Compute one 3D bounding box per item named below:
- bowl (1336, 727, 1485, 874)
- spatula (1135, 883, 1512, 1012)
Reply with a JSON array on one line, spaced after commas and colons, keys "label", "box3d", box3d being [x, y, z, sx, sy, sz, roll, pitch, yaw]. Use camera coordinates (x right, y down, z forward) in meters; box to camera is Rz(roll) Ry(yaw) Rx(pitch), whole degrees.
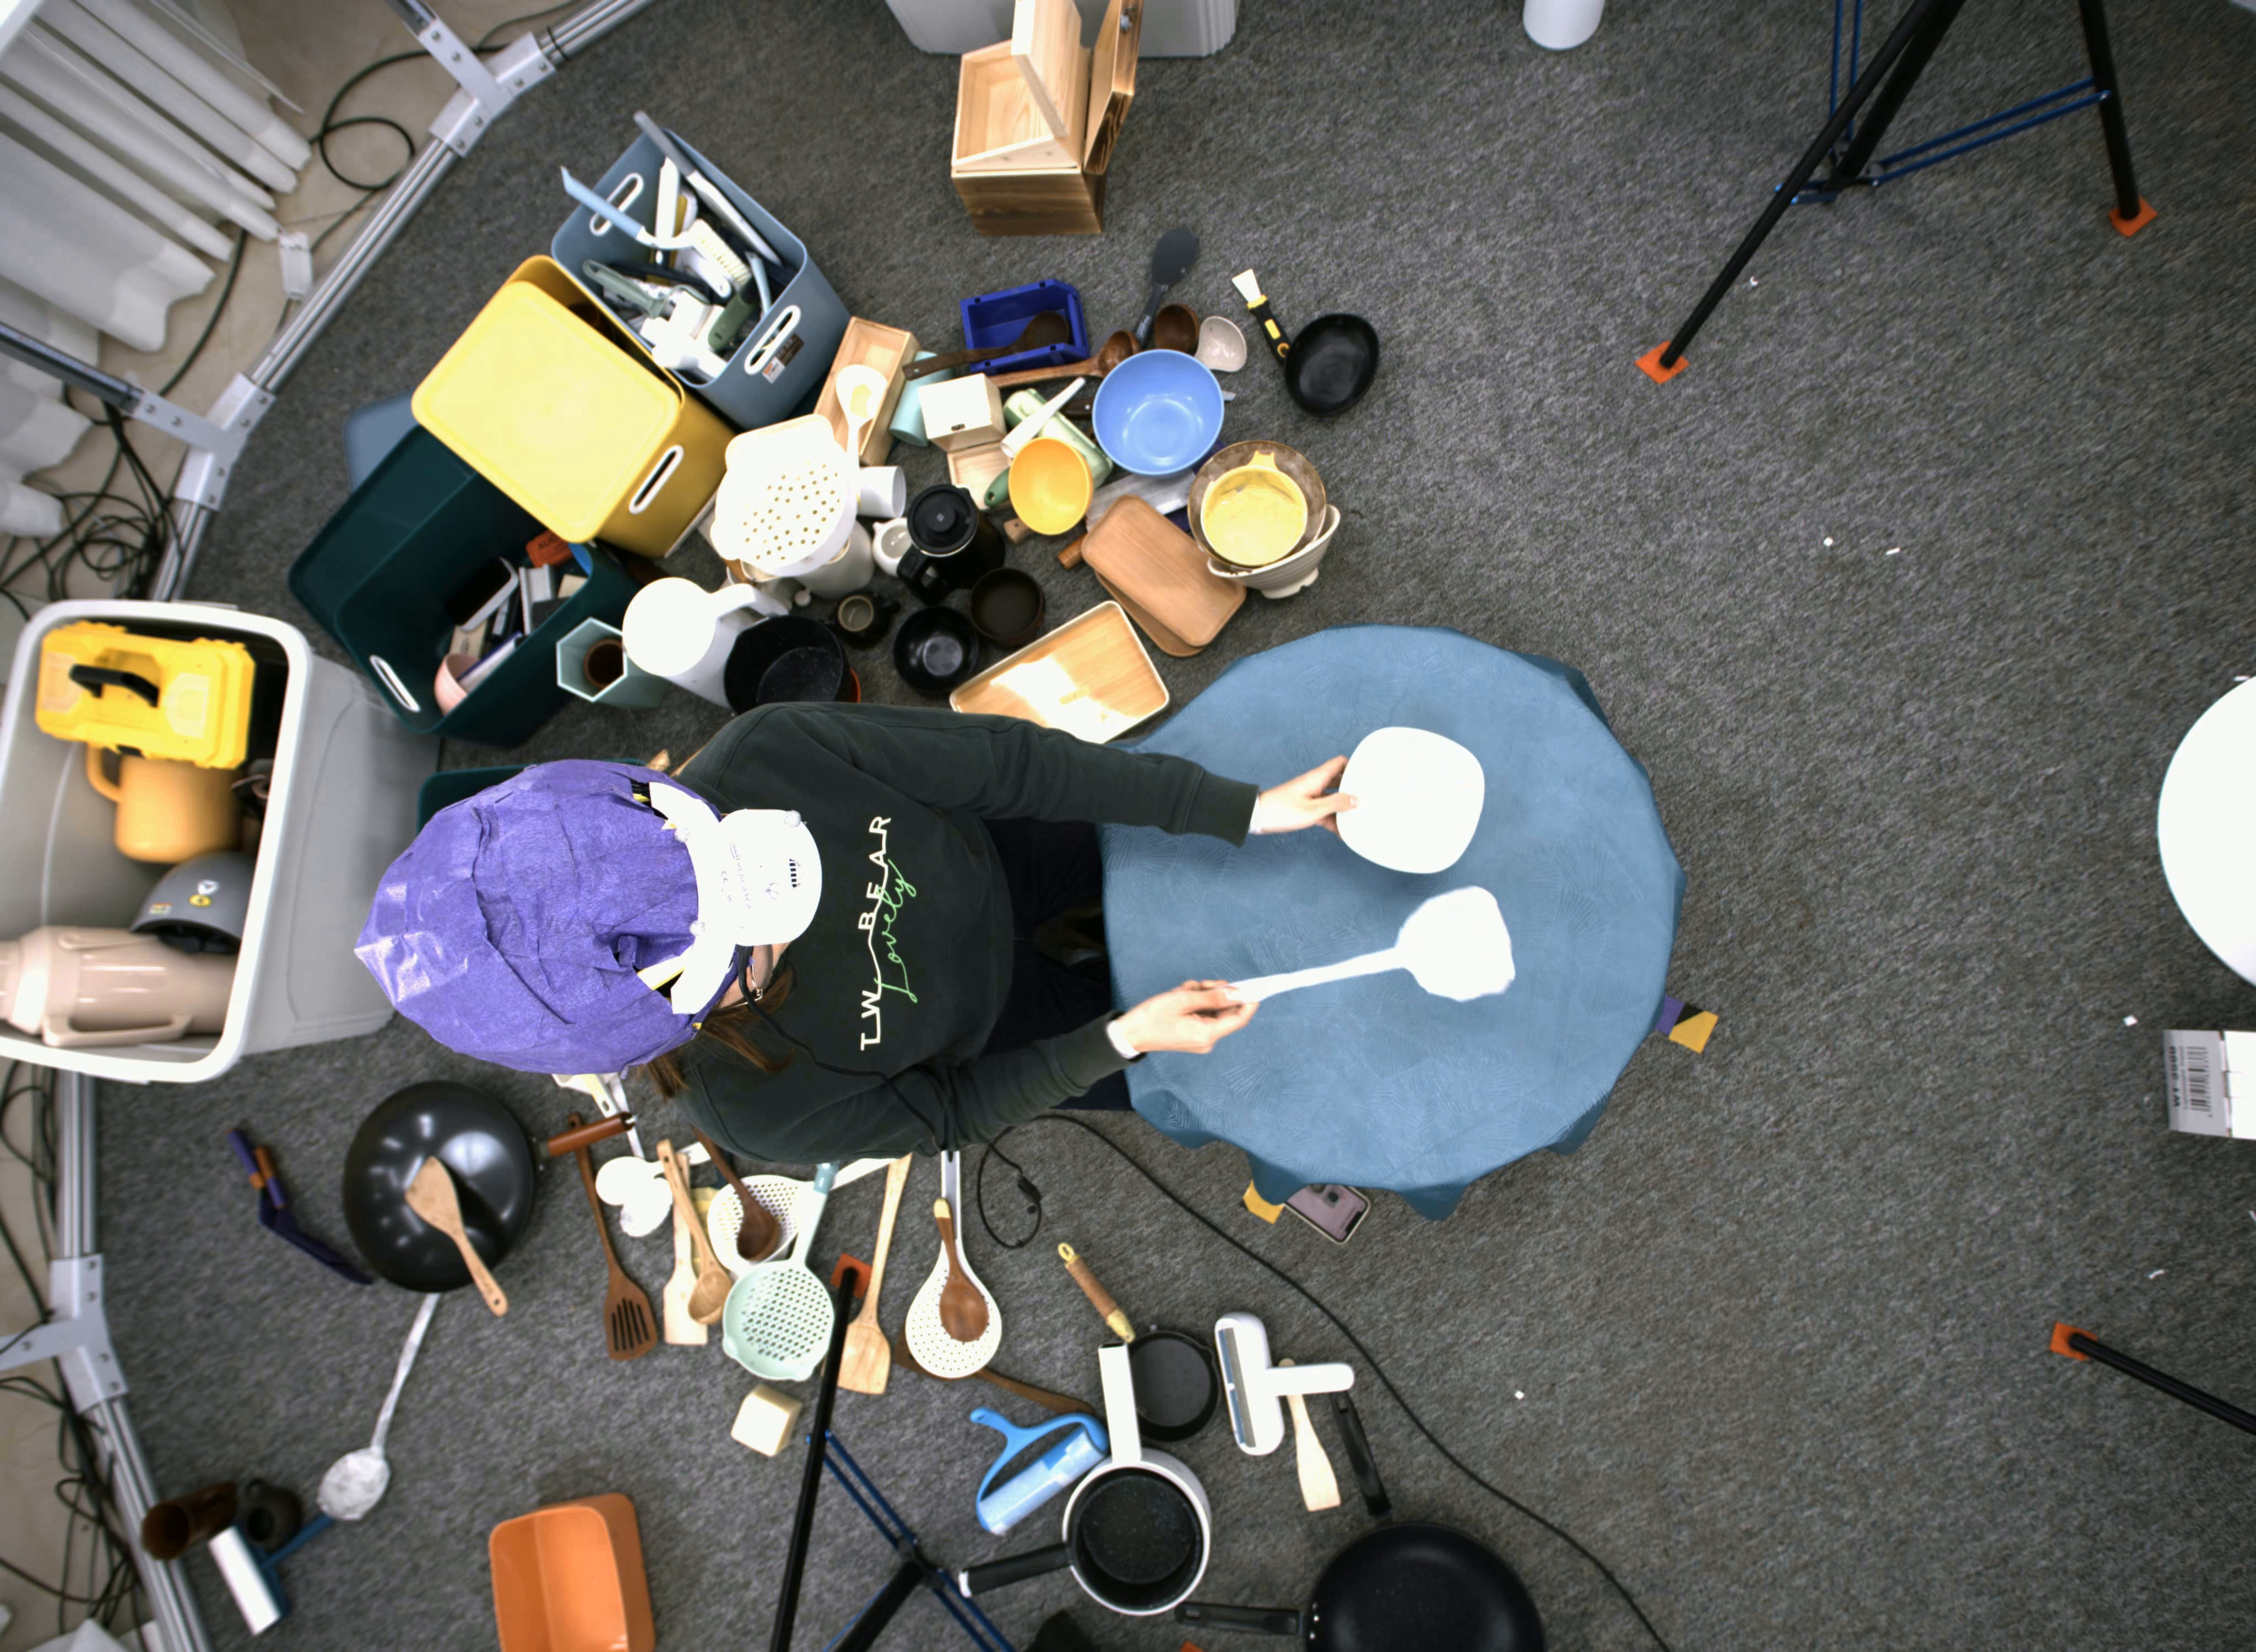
[{"label": "bowl", "box3d": [0.281, -0.026, 1.379, 0.152, 0.058, 0.151, 0, 91, 9]}, {"label": "spatula", "box3d": [0.177, 0.135, 1.307, 0.367, 0.044, 0.098, -14, 88, 14]}]
